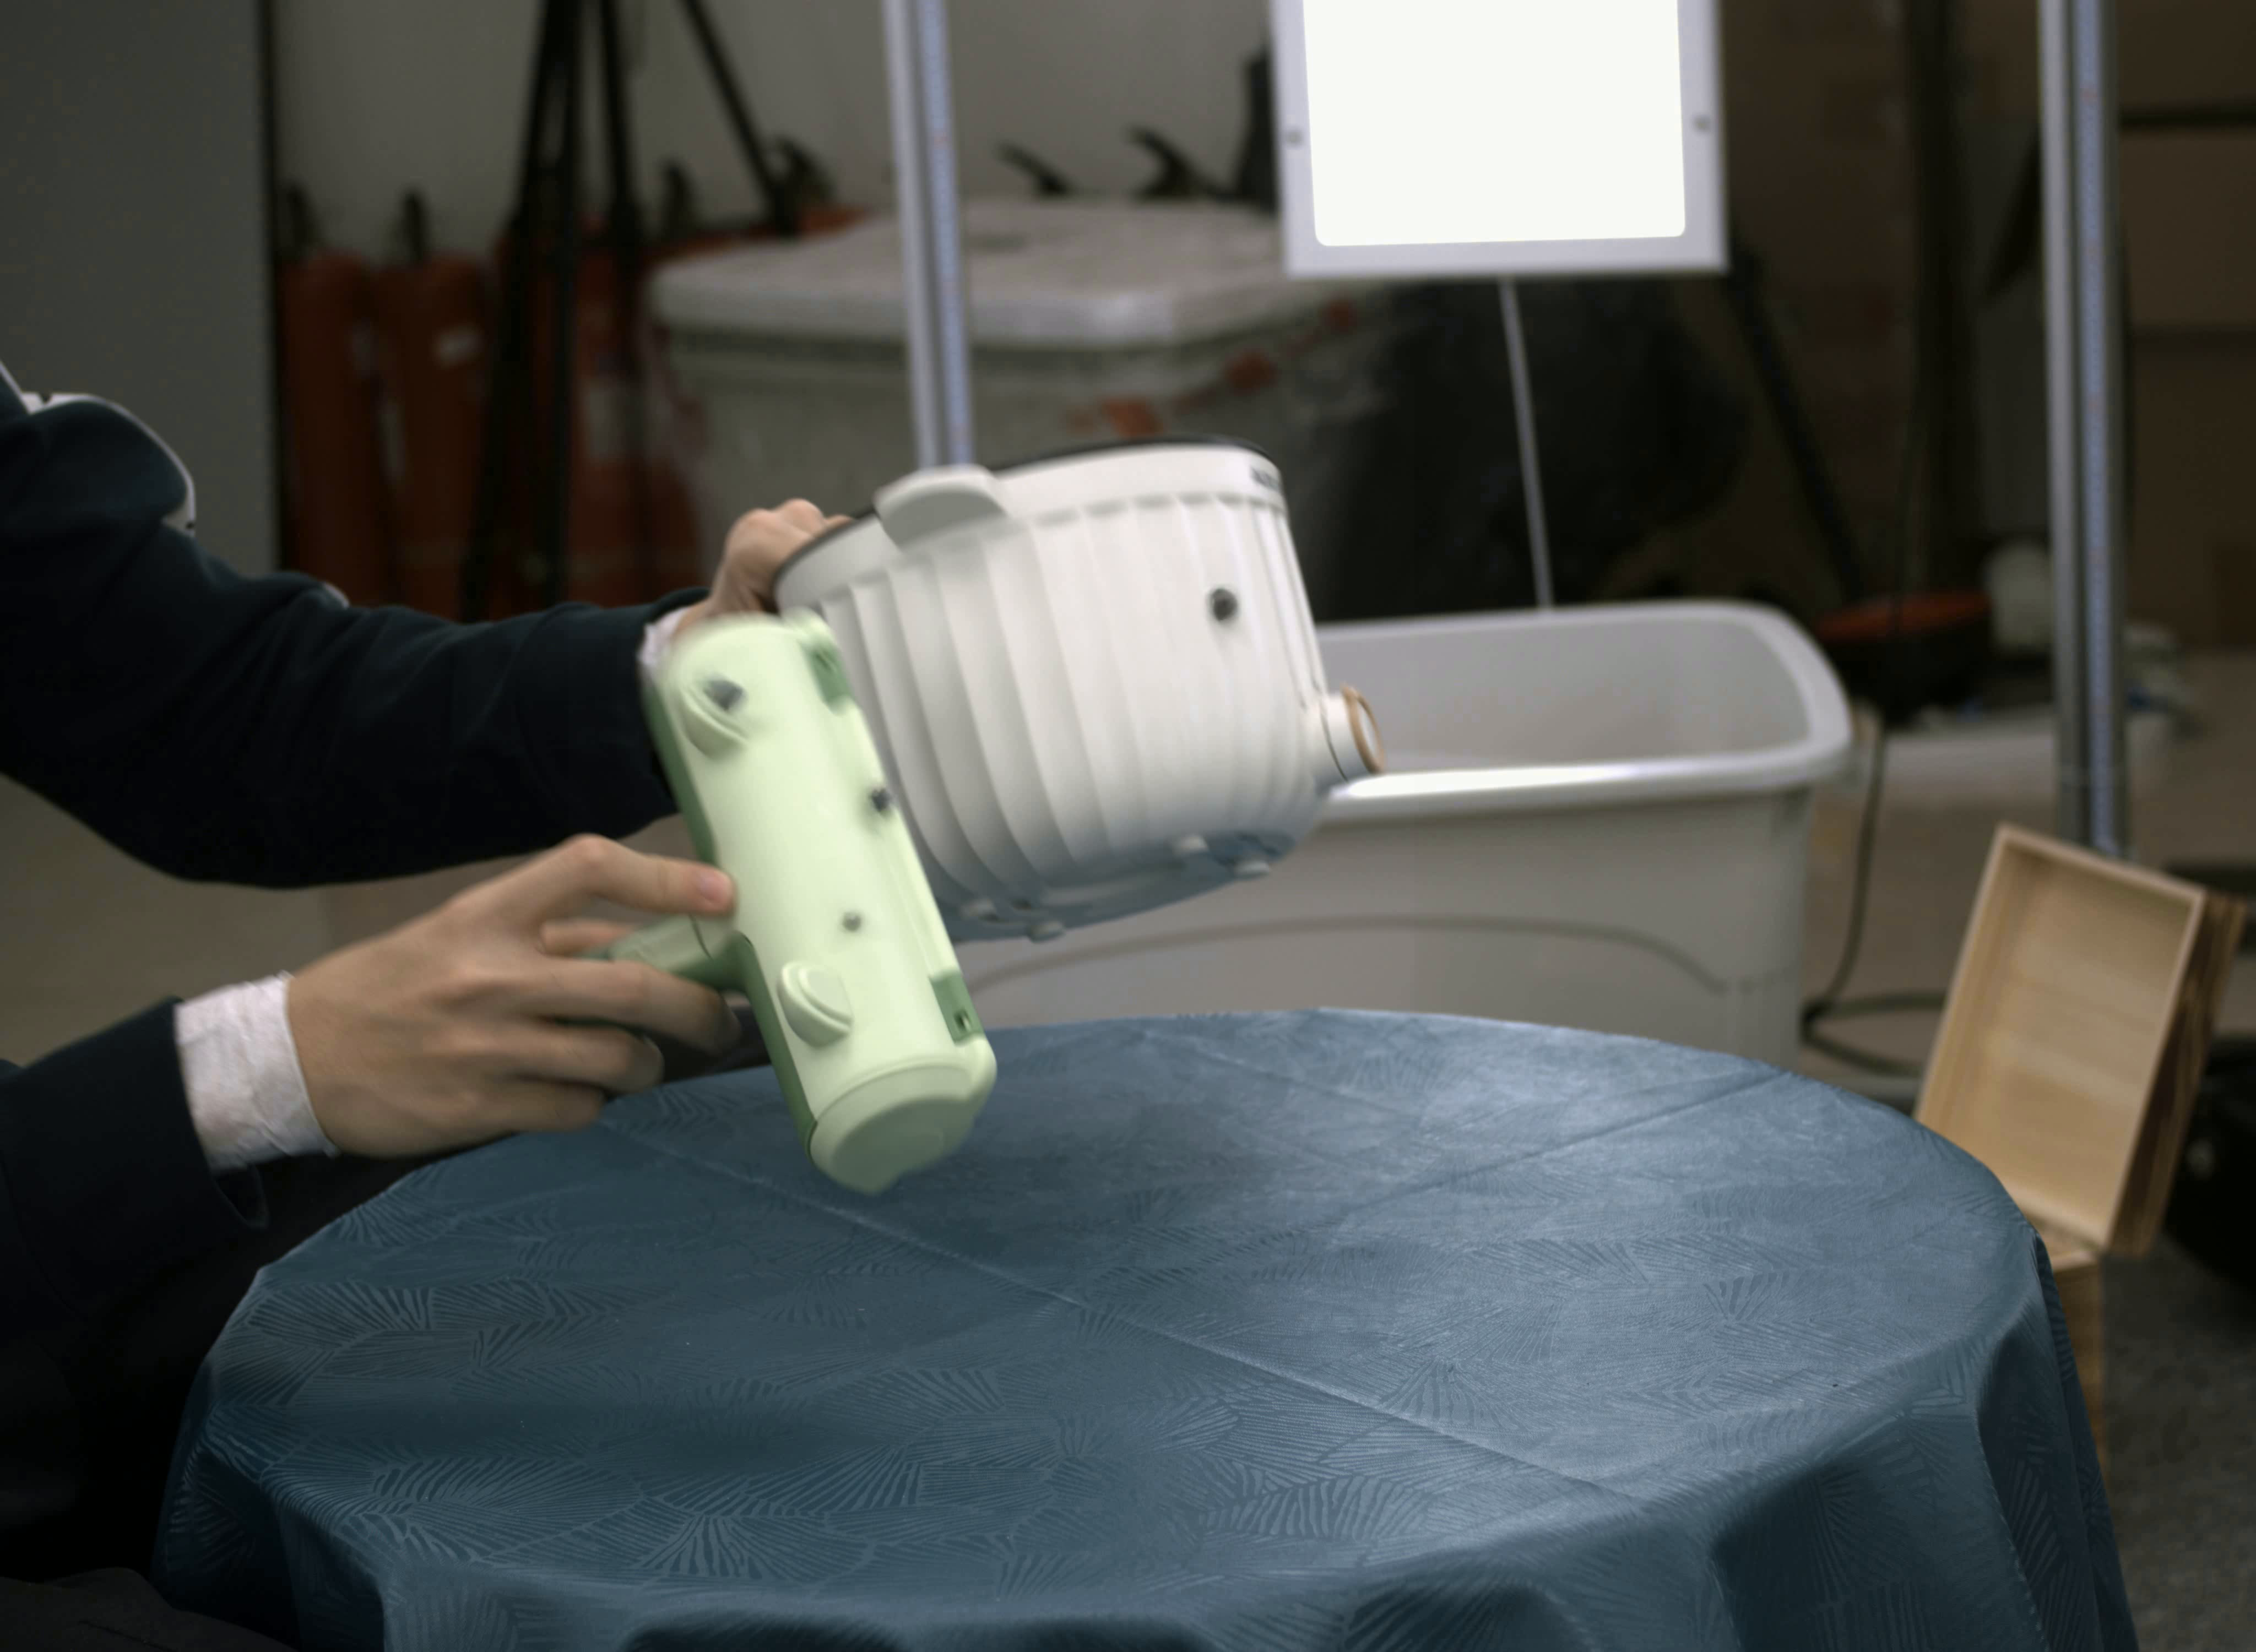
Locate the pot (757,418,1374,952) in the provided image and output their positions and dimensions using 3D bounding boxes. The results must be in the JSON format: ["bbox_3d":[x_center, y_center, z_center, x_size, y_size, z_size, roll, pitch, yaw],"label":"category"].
[{"bbox_3d":[-0.019,-0.045,1.904,0.192,0.143,0.237,-21,-13,14],"label":"pot"}]

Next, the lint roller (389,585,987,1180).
[{"bbox_3d":[-0.157,0.035,1.733,0.183,0.200,0.082,-24,-29,2],"label":"lint roller"}]
